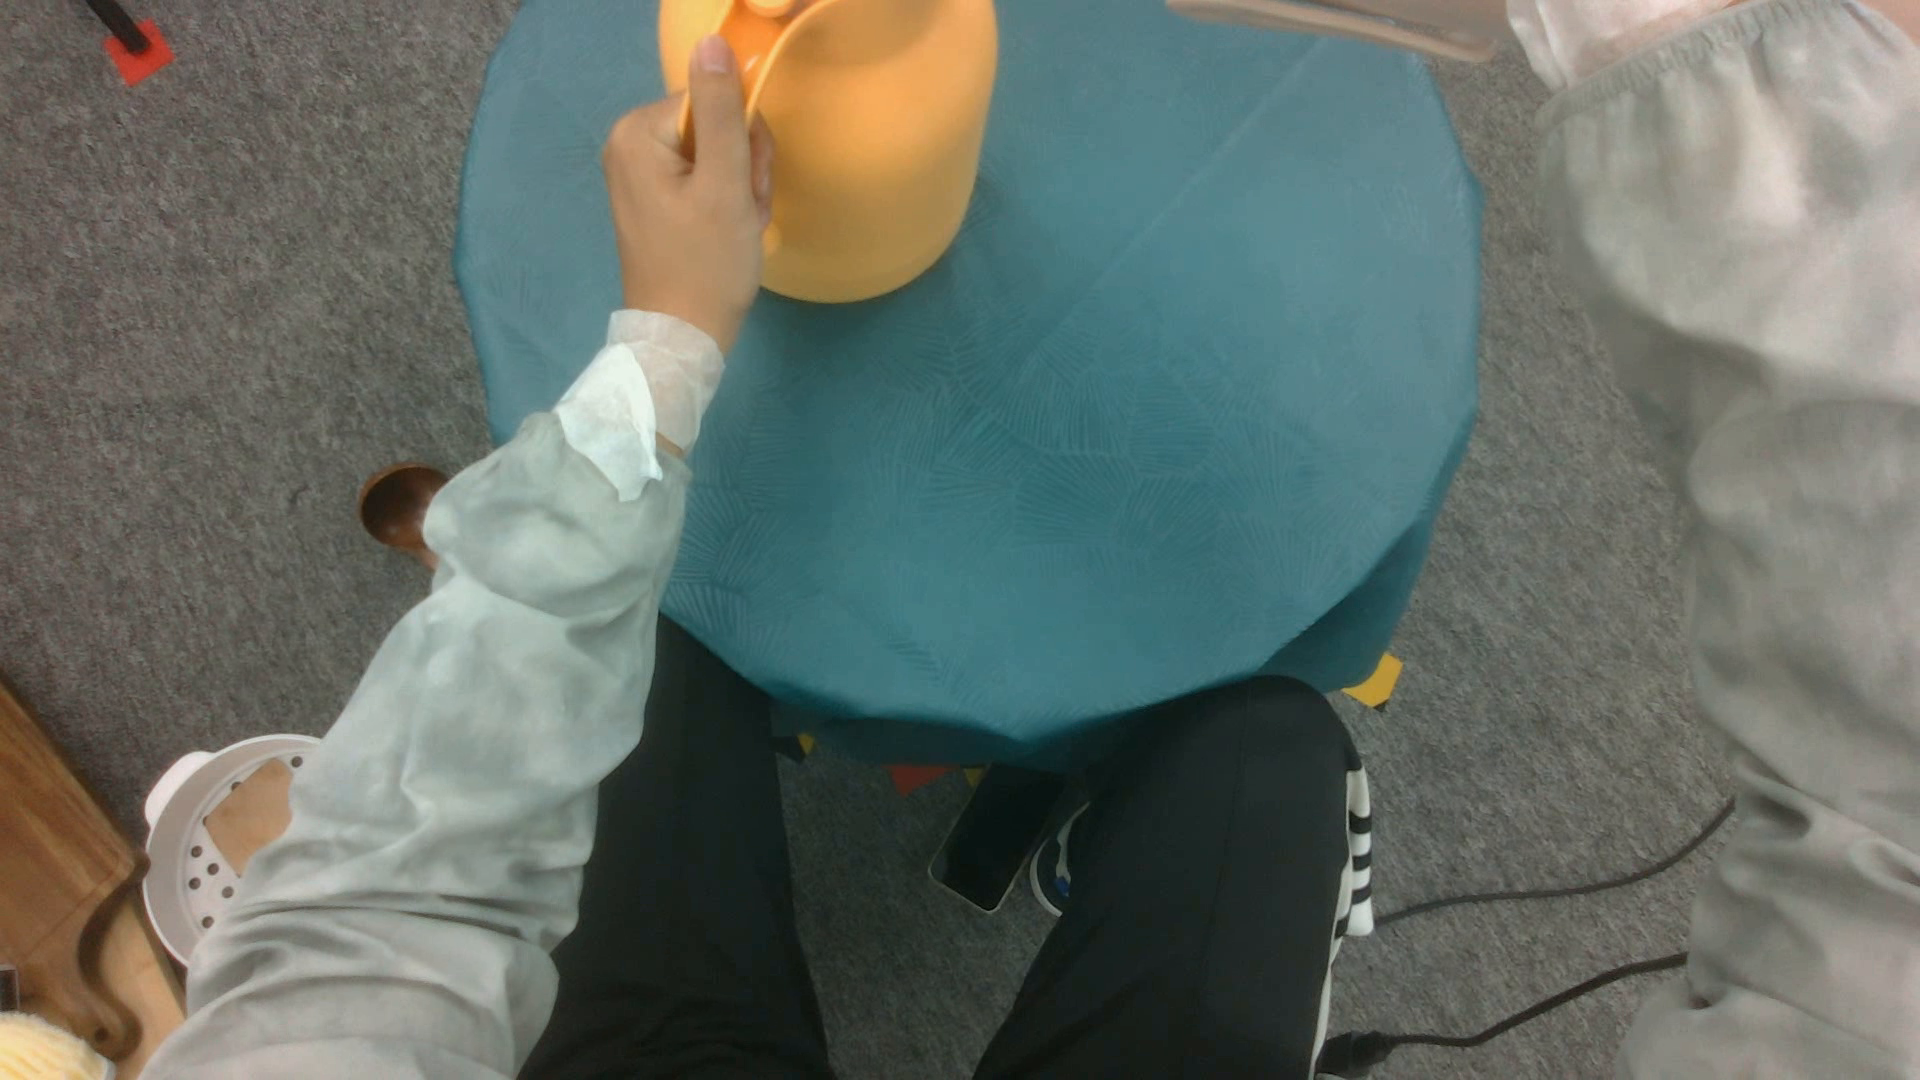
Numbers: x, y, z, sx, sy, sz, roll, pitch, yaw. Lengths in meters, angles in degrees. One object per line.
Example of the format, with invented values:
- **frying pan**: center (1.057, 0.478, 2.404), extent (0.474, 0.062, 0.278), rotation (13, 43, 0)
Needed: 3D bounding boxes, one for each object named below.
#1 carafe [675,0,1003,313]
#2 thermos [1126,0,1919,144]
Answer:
- **carafe**: center (-0.070, -0.216, 0.682), extent (0.163, 0.259, 0.203), rotation (27, 73, 4)
- **thermos**: center (0.169, -0.241, 0.446), extent (0.406, 0.207, 0.175), rotation (10, 101, -2)
